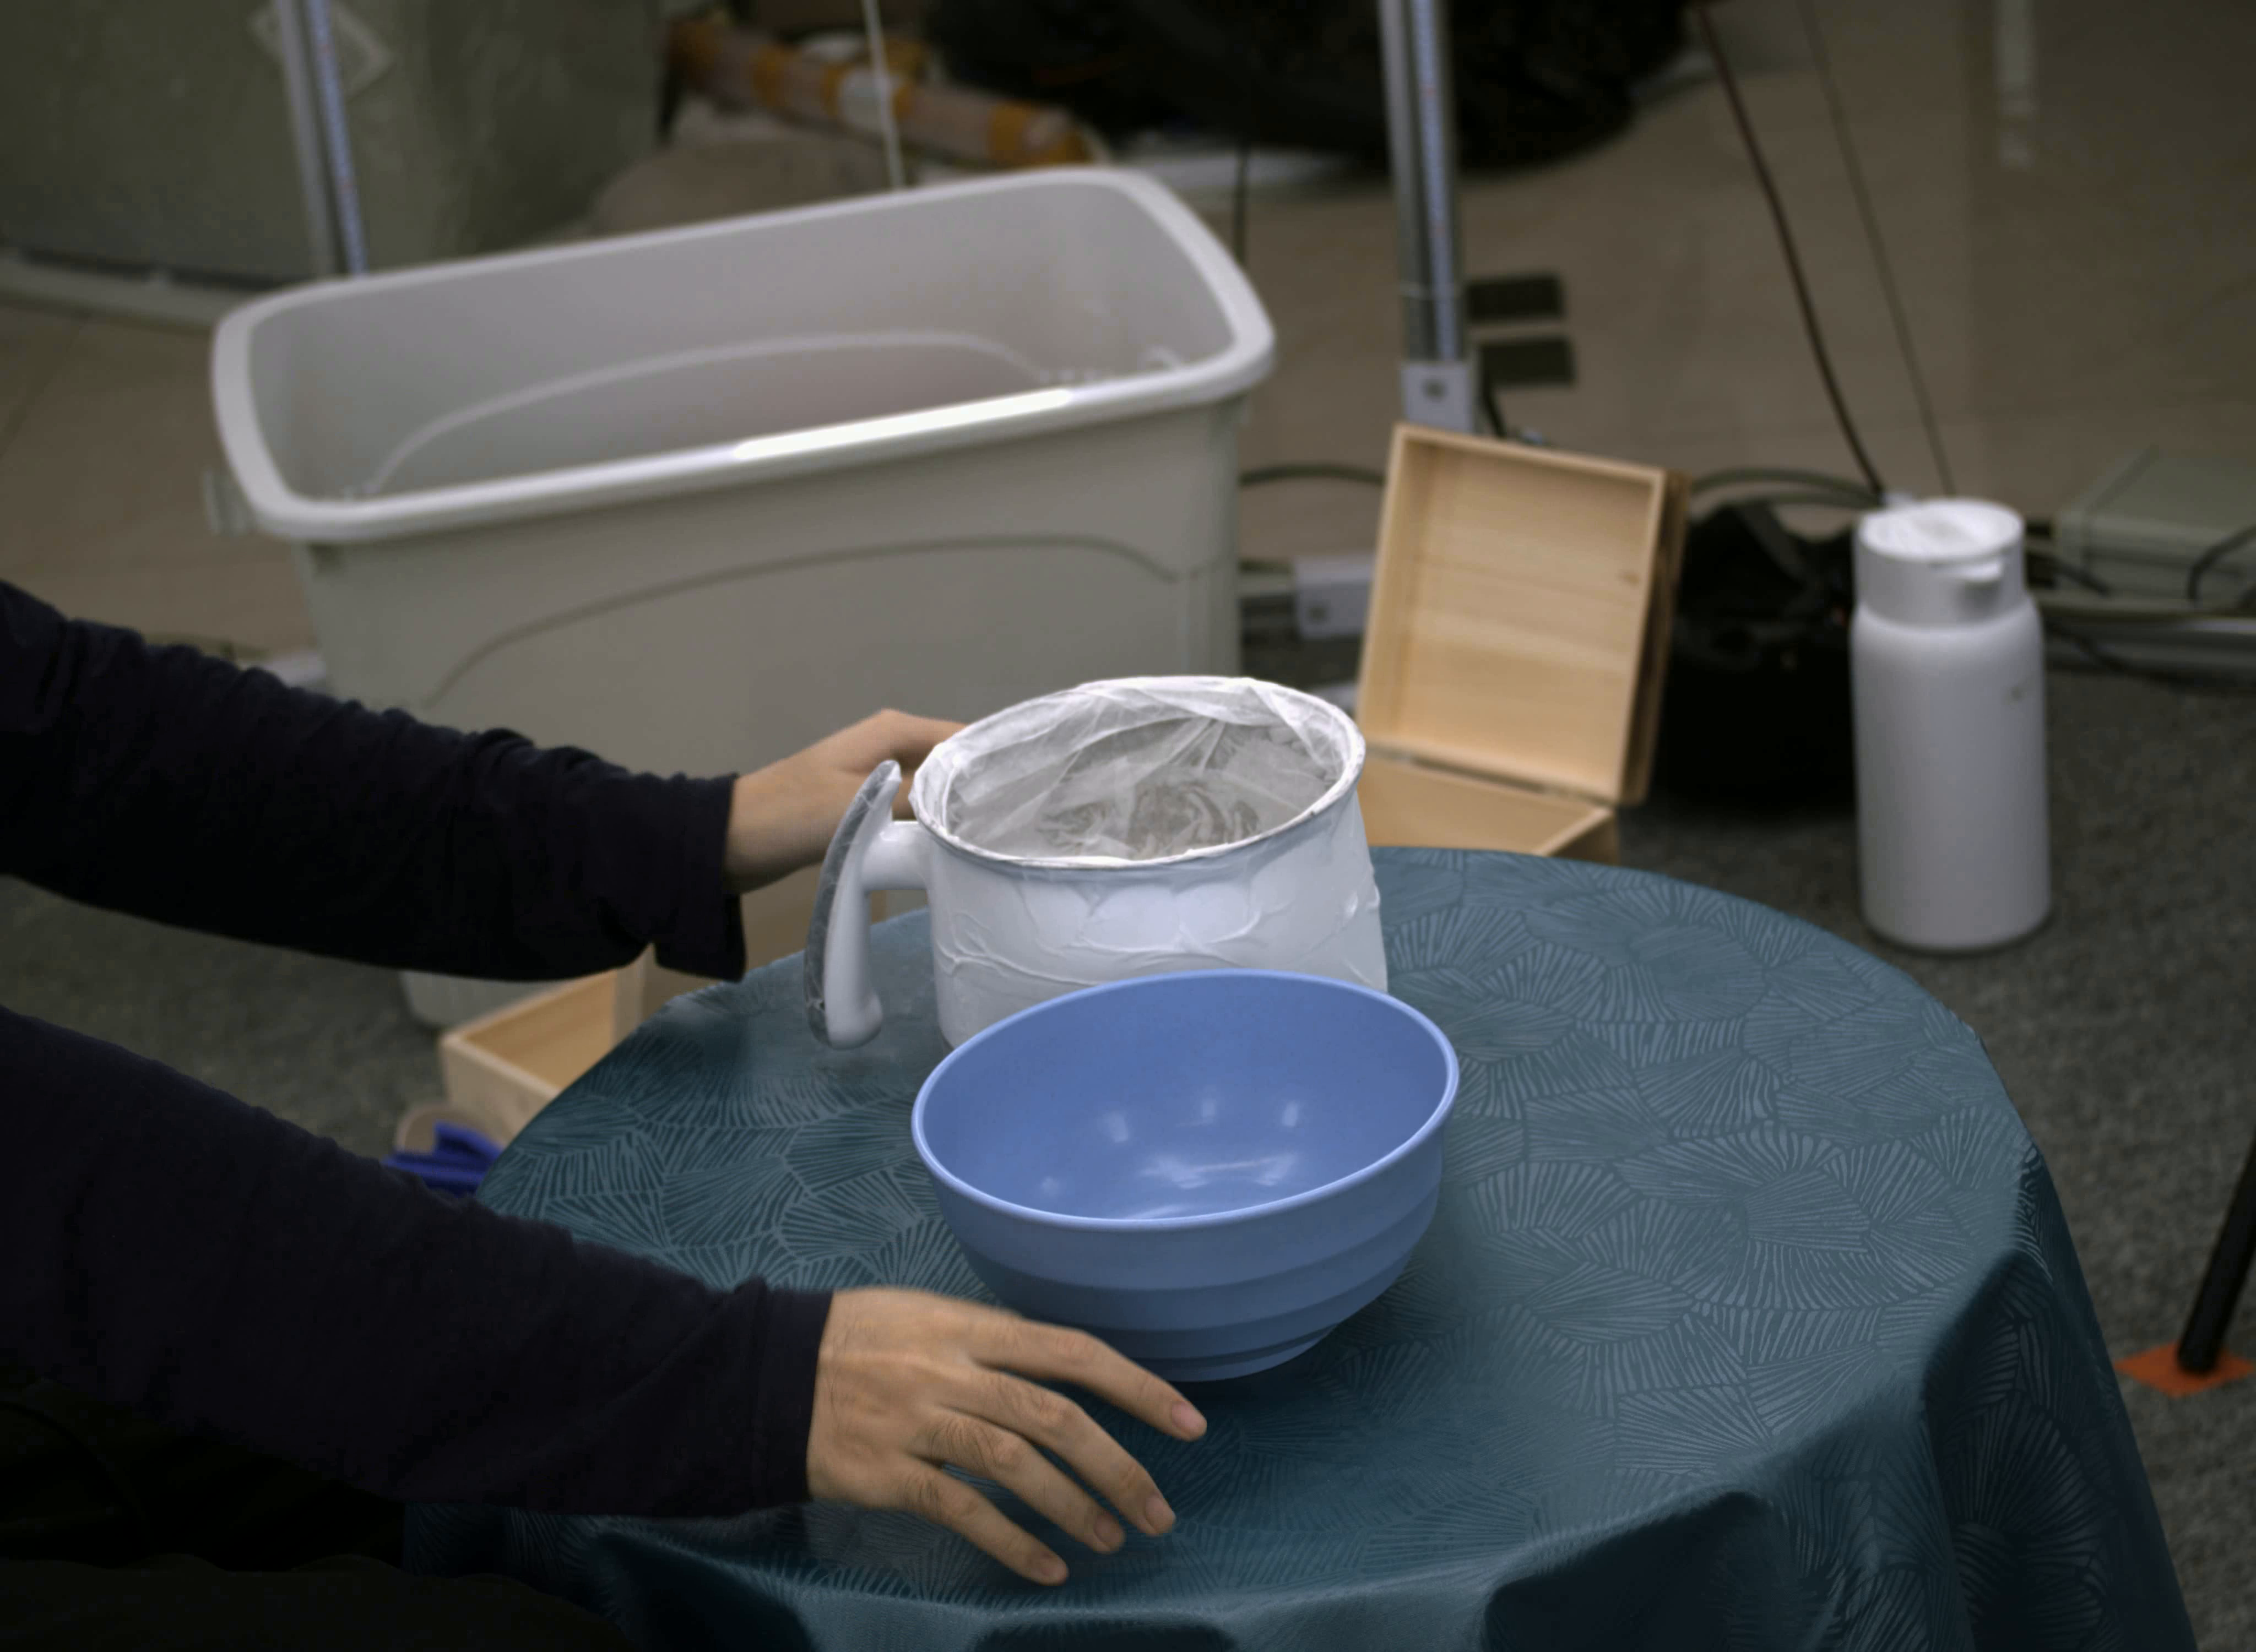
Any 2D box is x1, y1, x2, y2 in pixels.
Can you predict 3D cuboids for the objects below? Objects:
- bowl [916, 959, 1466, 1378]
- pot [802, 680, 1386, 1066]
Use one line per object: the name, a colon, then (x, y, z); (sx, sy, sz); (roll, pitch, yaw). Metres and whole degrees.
bowl: (0.025, 0.134, 2.037); (0.196, 0.097, 0.193); (-4, 27, 2)
pot: (-0.017, 0.034, 2.214); (0.233, 0.138, 0.176); (-1, 23, 10)
